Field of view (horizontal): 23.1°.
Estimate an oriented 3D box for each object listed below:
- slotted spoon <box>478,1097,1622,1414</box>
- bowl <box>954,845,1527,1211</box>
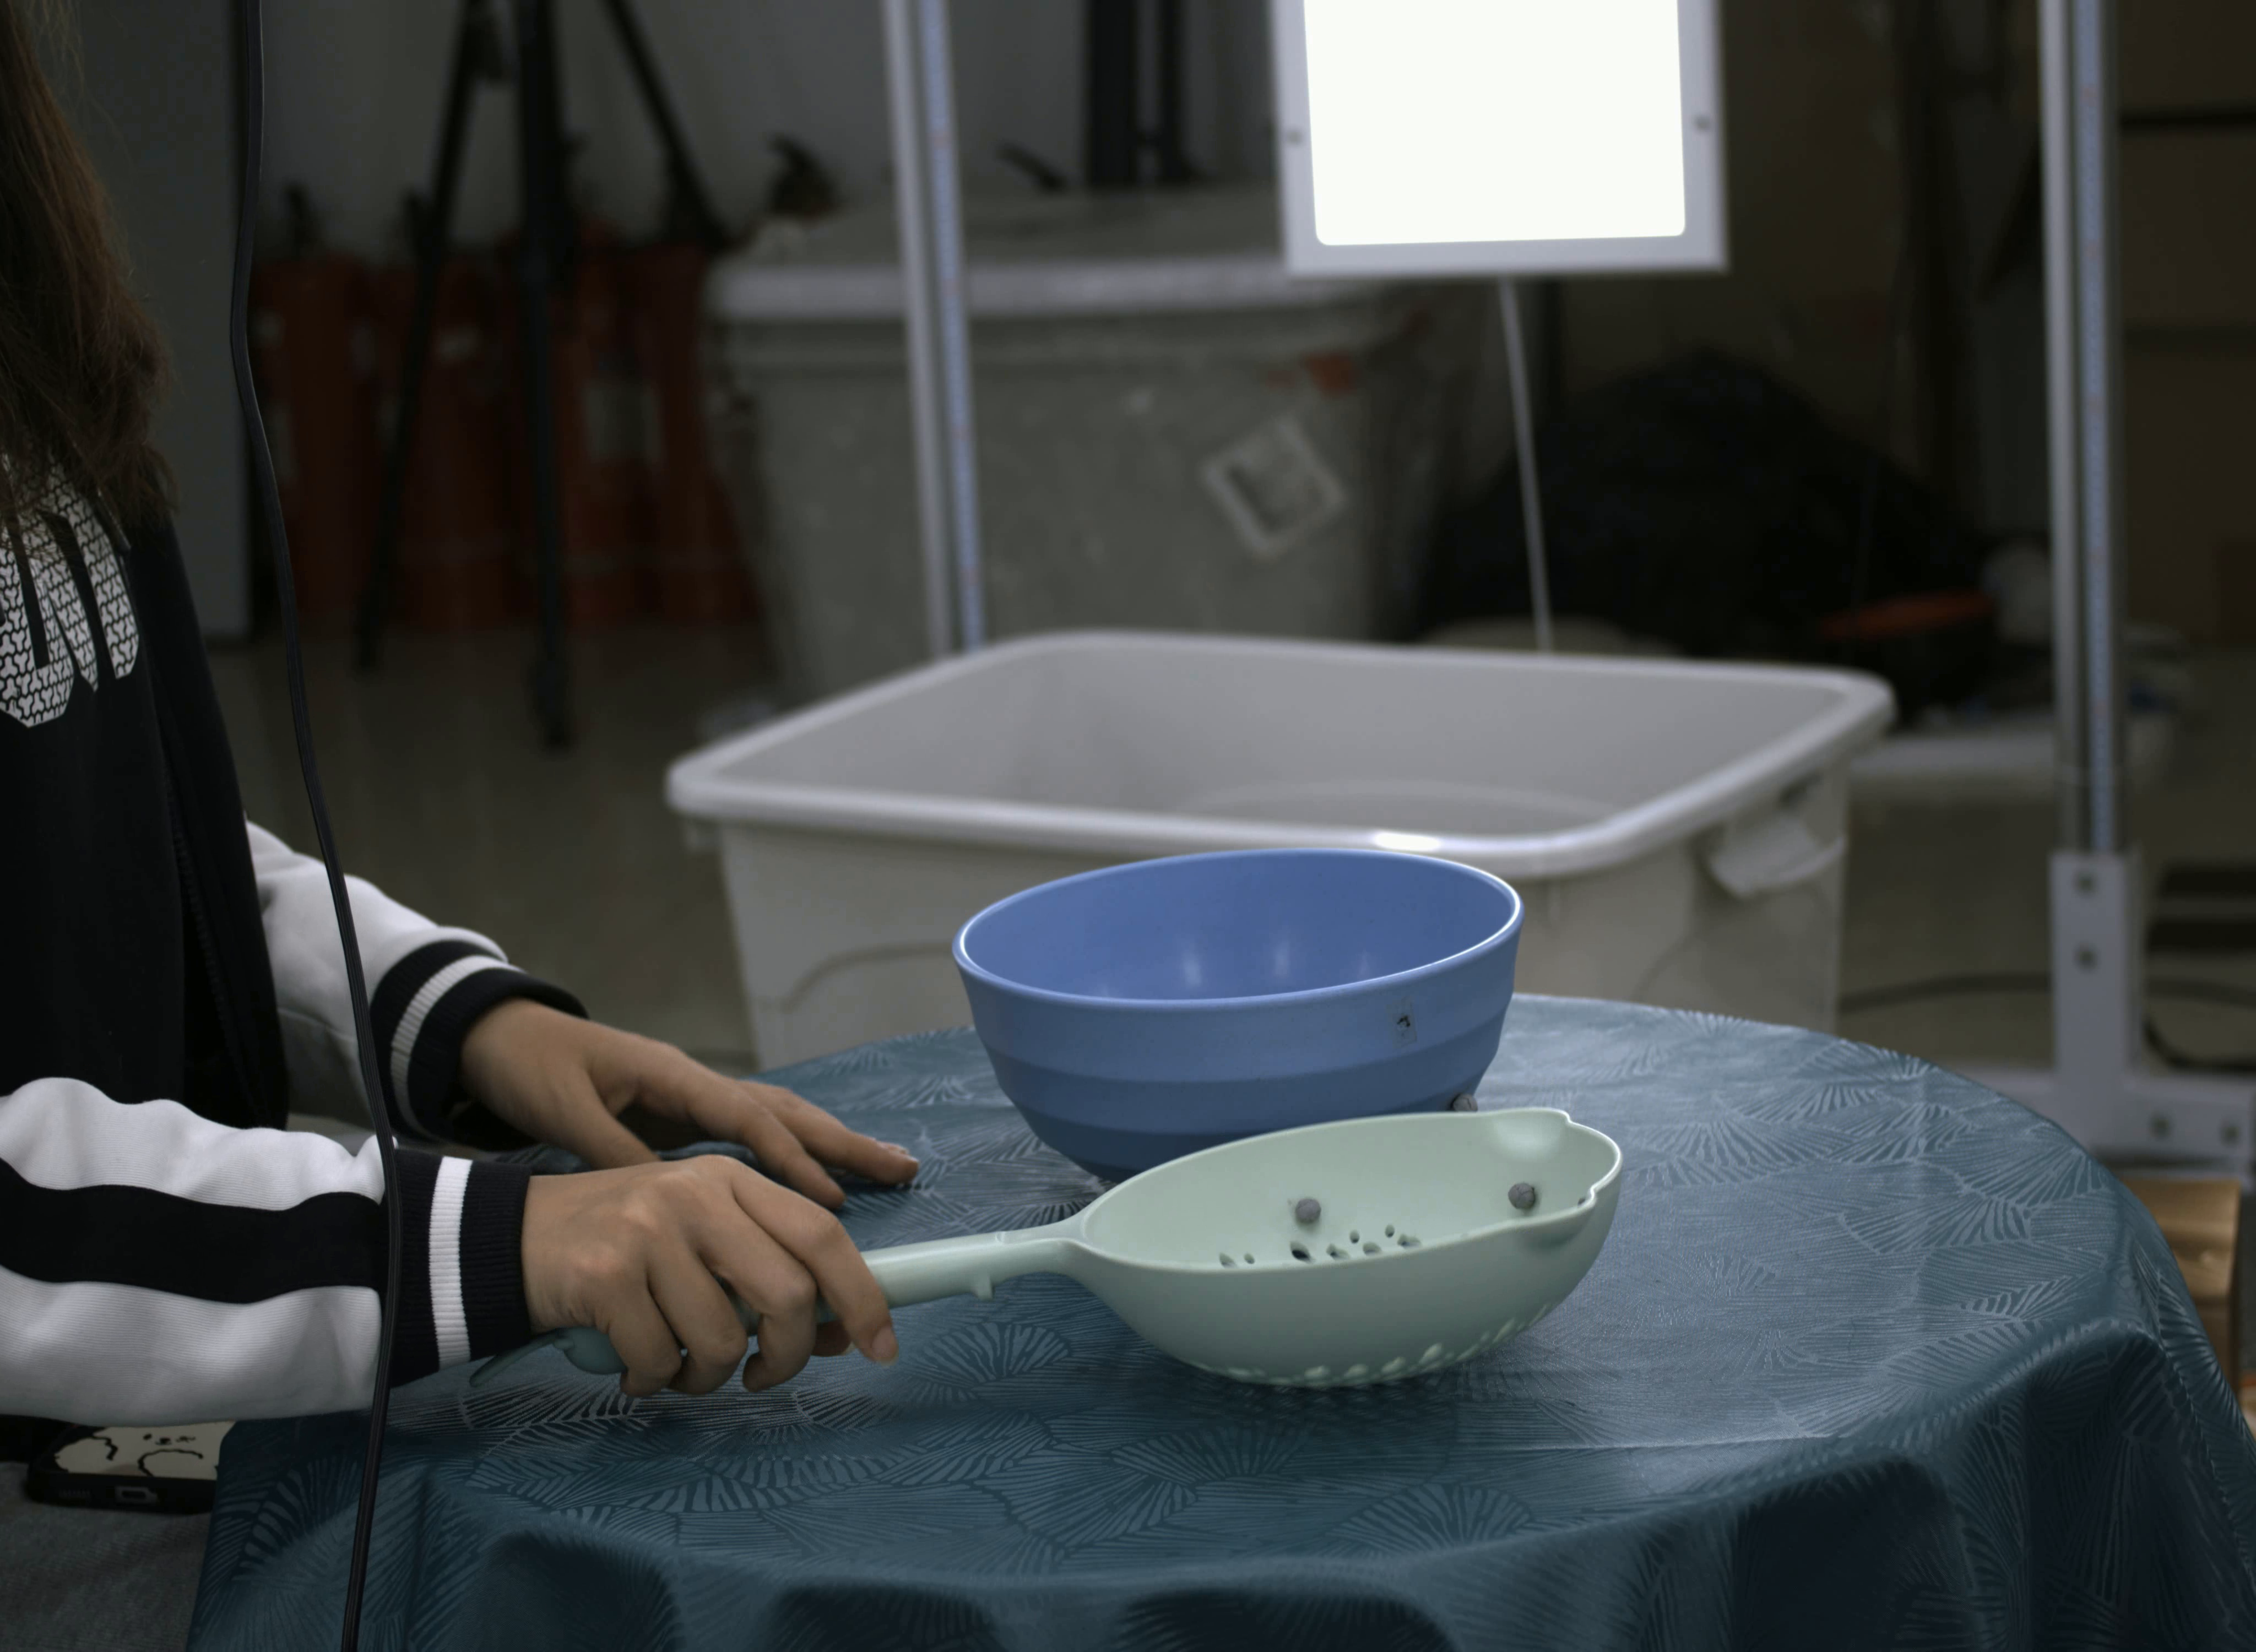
[{"bbox_3d":[-0.026,0.141,1.705,0.359,0.075,0.168,-2,12,4],"label":"slotted spoon"},{"bbox_3d":[0.042,0.077,1.884,0.196,0.096,0.196,-5,14,0],"label":"bowl"}]
